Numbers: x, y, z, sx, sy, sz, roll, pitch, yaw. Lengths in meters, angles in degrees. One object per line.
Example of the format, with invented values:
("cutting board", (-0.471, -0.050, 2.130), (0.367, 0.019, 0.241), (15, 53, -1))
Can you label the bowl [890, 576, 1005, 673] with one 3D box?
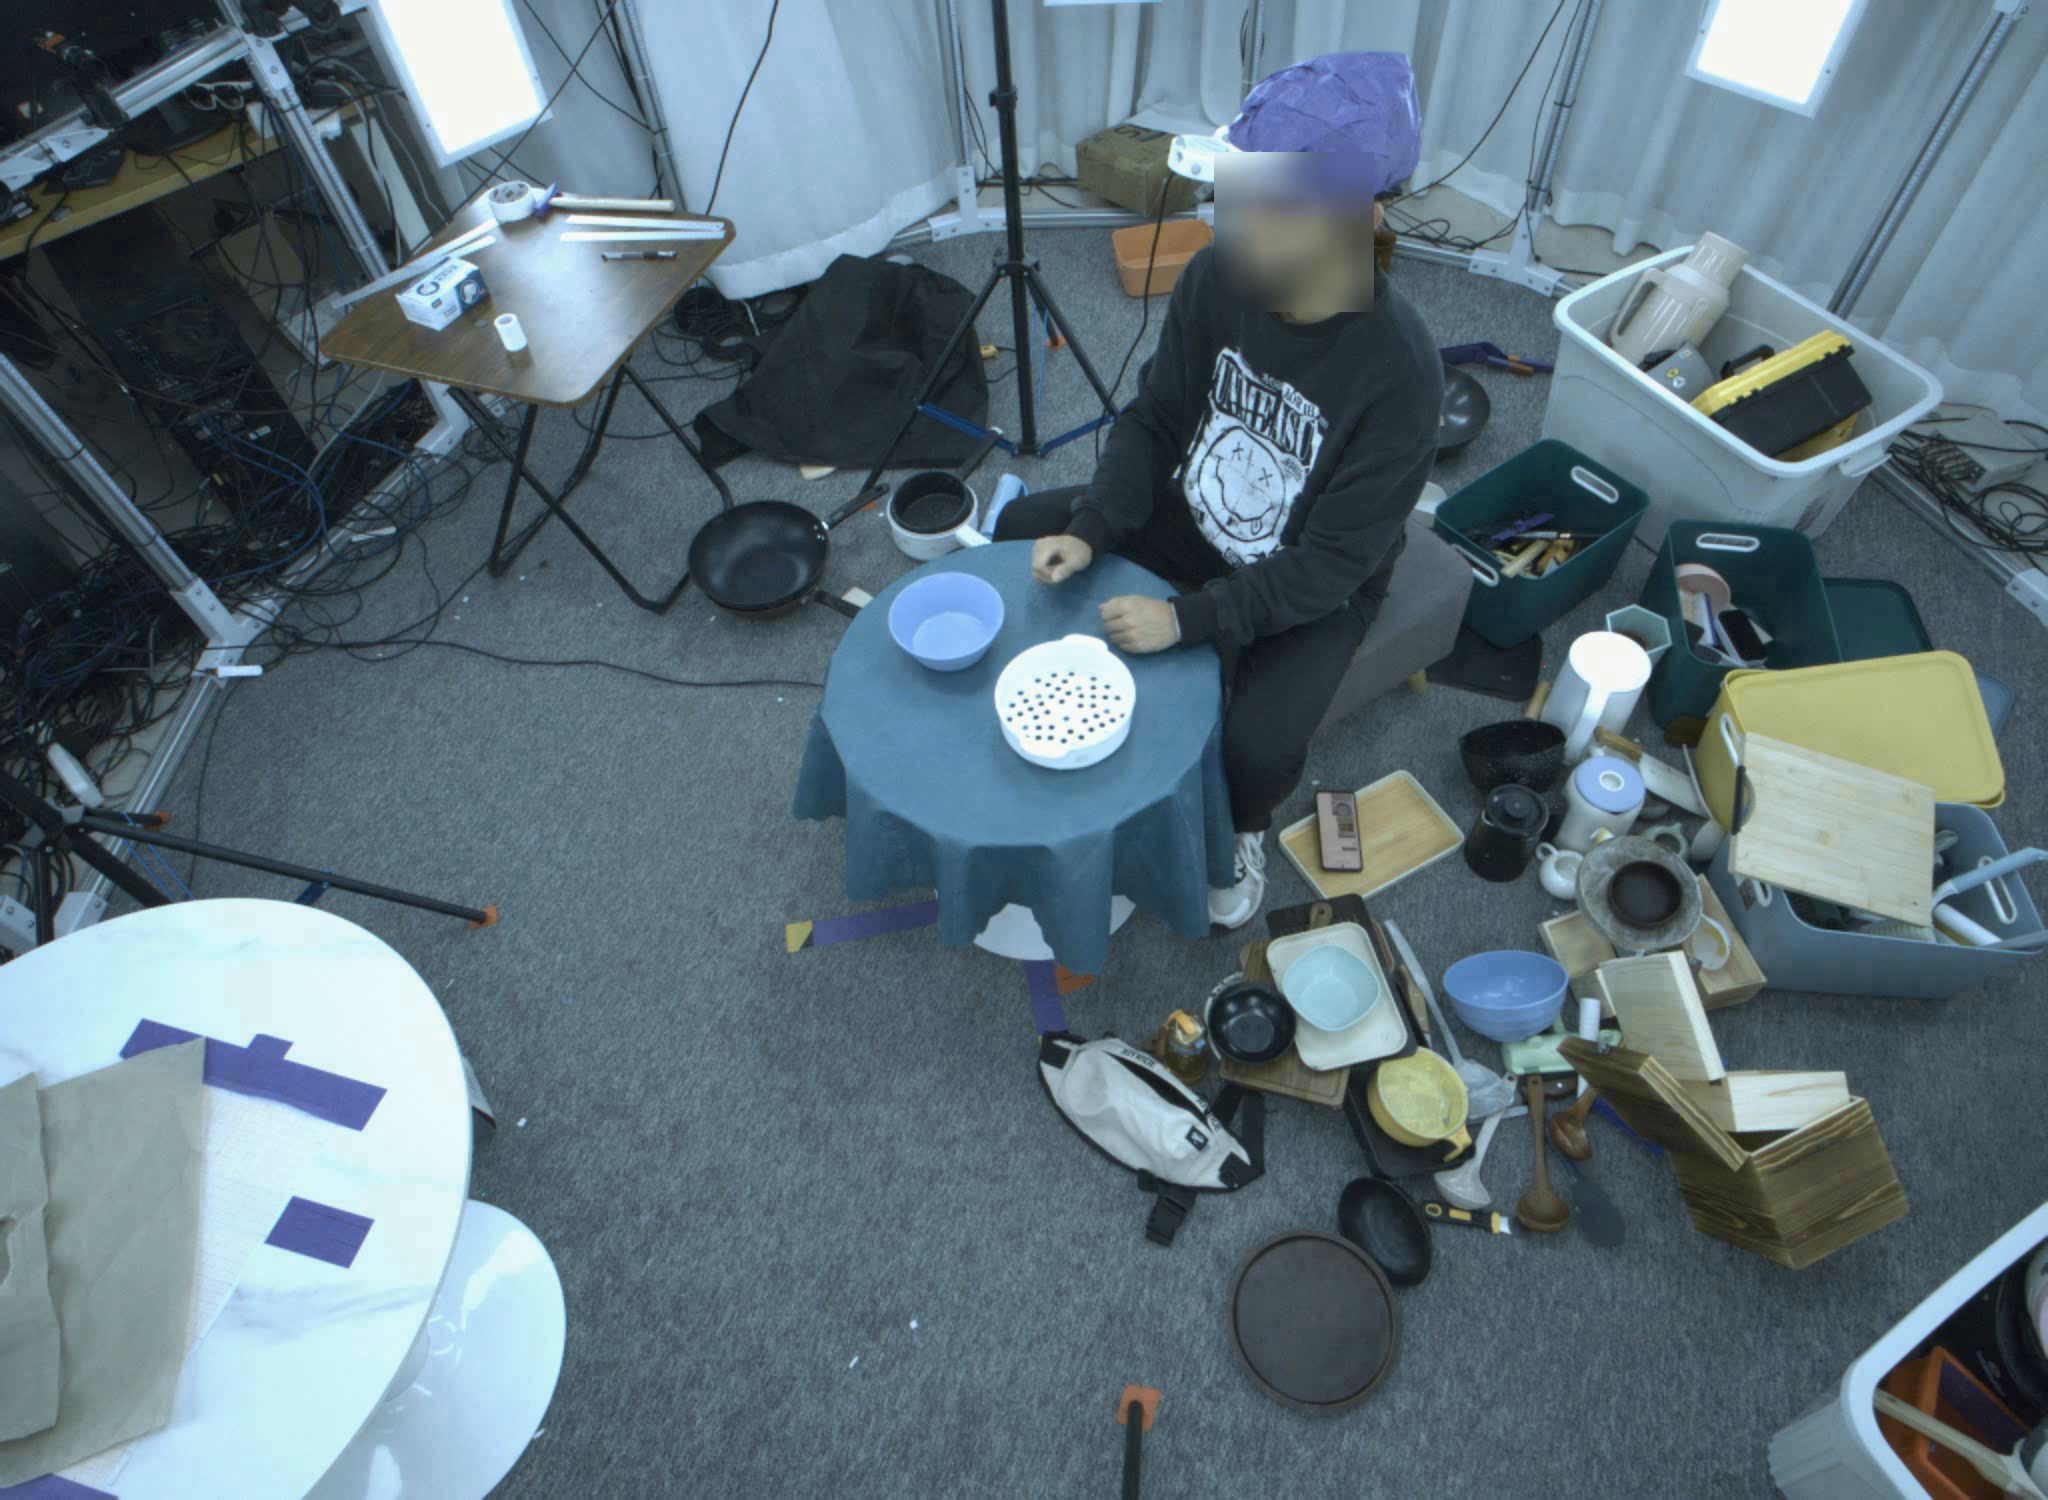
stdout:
("bowl", (-0.116, -0.183, 1.887), (0.176, 0.071, 0.174), (0, 55, 1))

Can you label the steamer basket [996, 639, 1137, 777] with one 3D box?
("steamer basket", (0.063, -0.055, 1.793), (0.200, 0.070, 0.230), (13, 59, 11))
